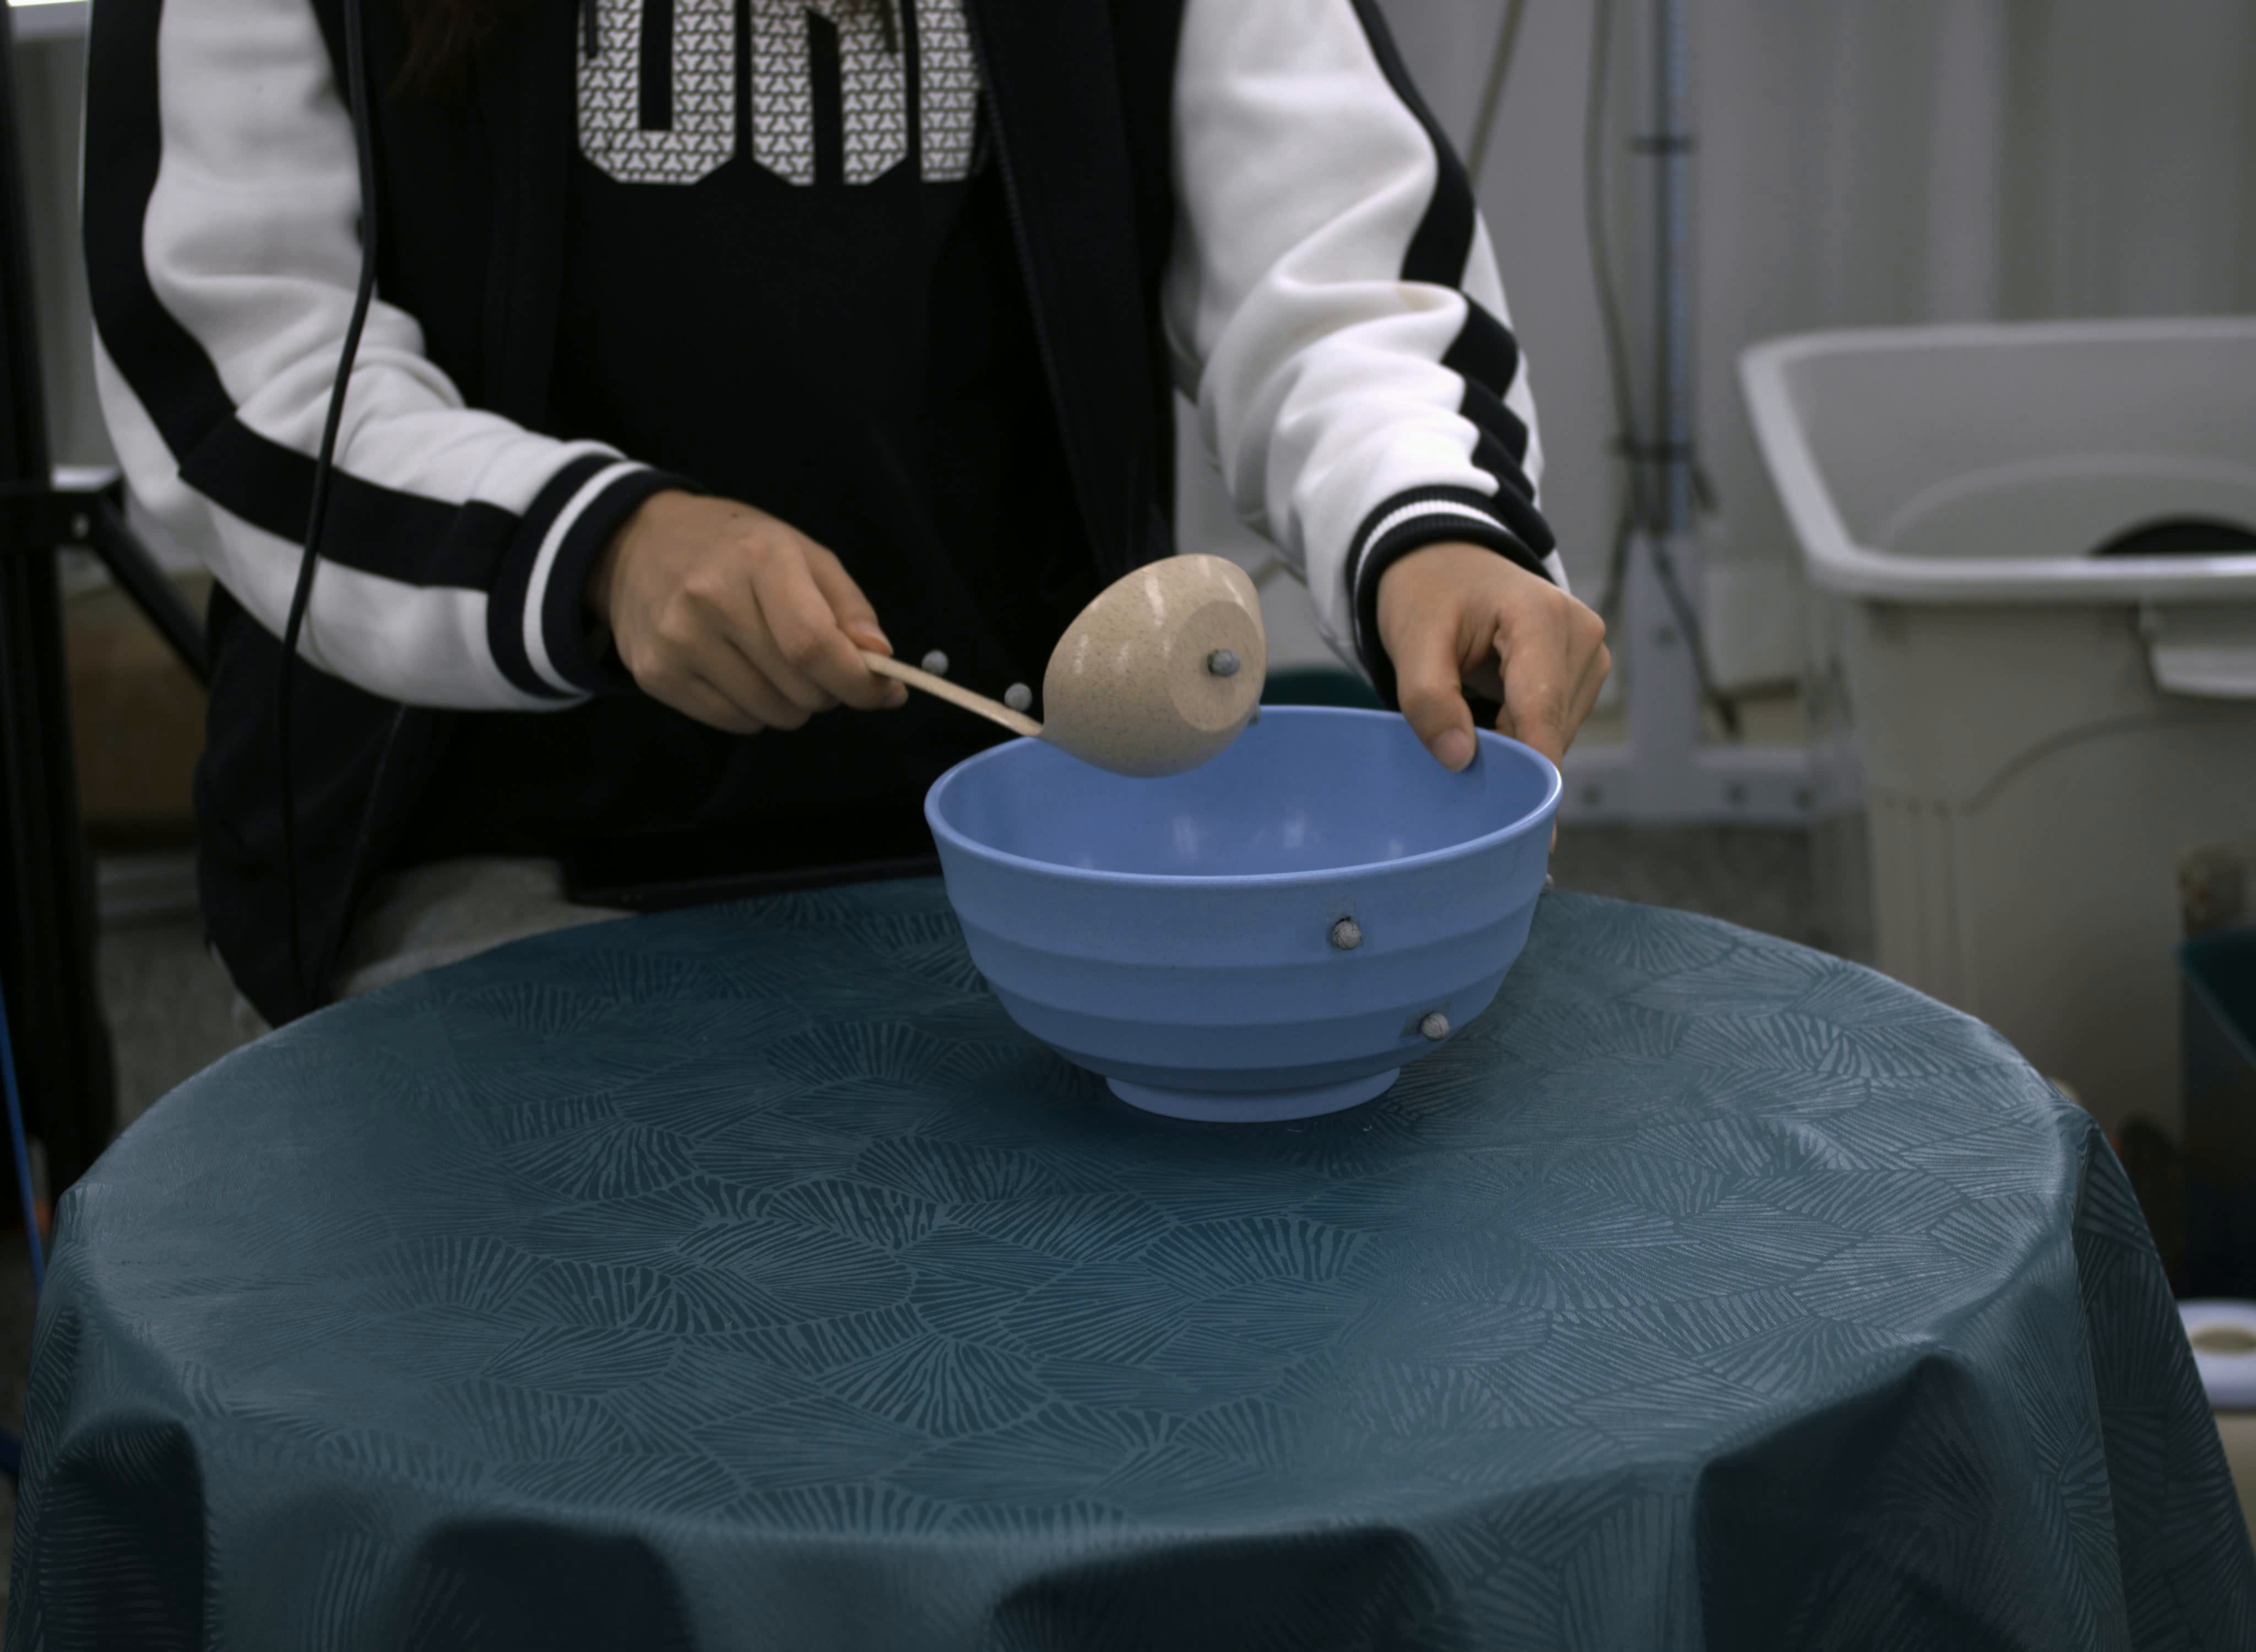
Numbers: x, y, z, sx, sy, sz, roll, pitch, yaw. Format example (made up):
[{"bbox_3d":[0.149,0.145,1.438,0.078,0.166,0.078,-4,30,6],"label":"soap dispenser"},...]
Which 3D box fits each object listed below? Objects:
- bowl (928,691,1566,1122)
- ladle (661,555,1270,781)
[{"bbox_3d":[0.037,0.031,1.644,0.195,0.095,0.197,-1,18,-1],"label":"bowl"},{"bbox_3d":[-0.056,-0.069,1.692,0.070,0.073,0.260,24,-5,-43],"label":"ladle"}]
